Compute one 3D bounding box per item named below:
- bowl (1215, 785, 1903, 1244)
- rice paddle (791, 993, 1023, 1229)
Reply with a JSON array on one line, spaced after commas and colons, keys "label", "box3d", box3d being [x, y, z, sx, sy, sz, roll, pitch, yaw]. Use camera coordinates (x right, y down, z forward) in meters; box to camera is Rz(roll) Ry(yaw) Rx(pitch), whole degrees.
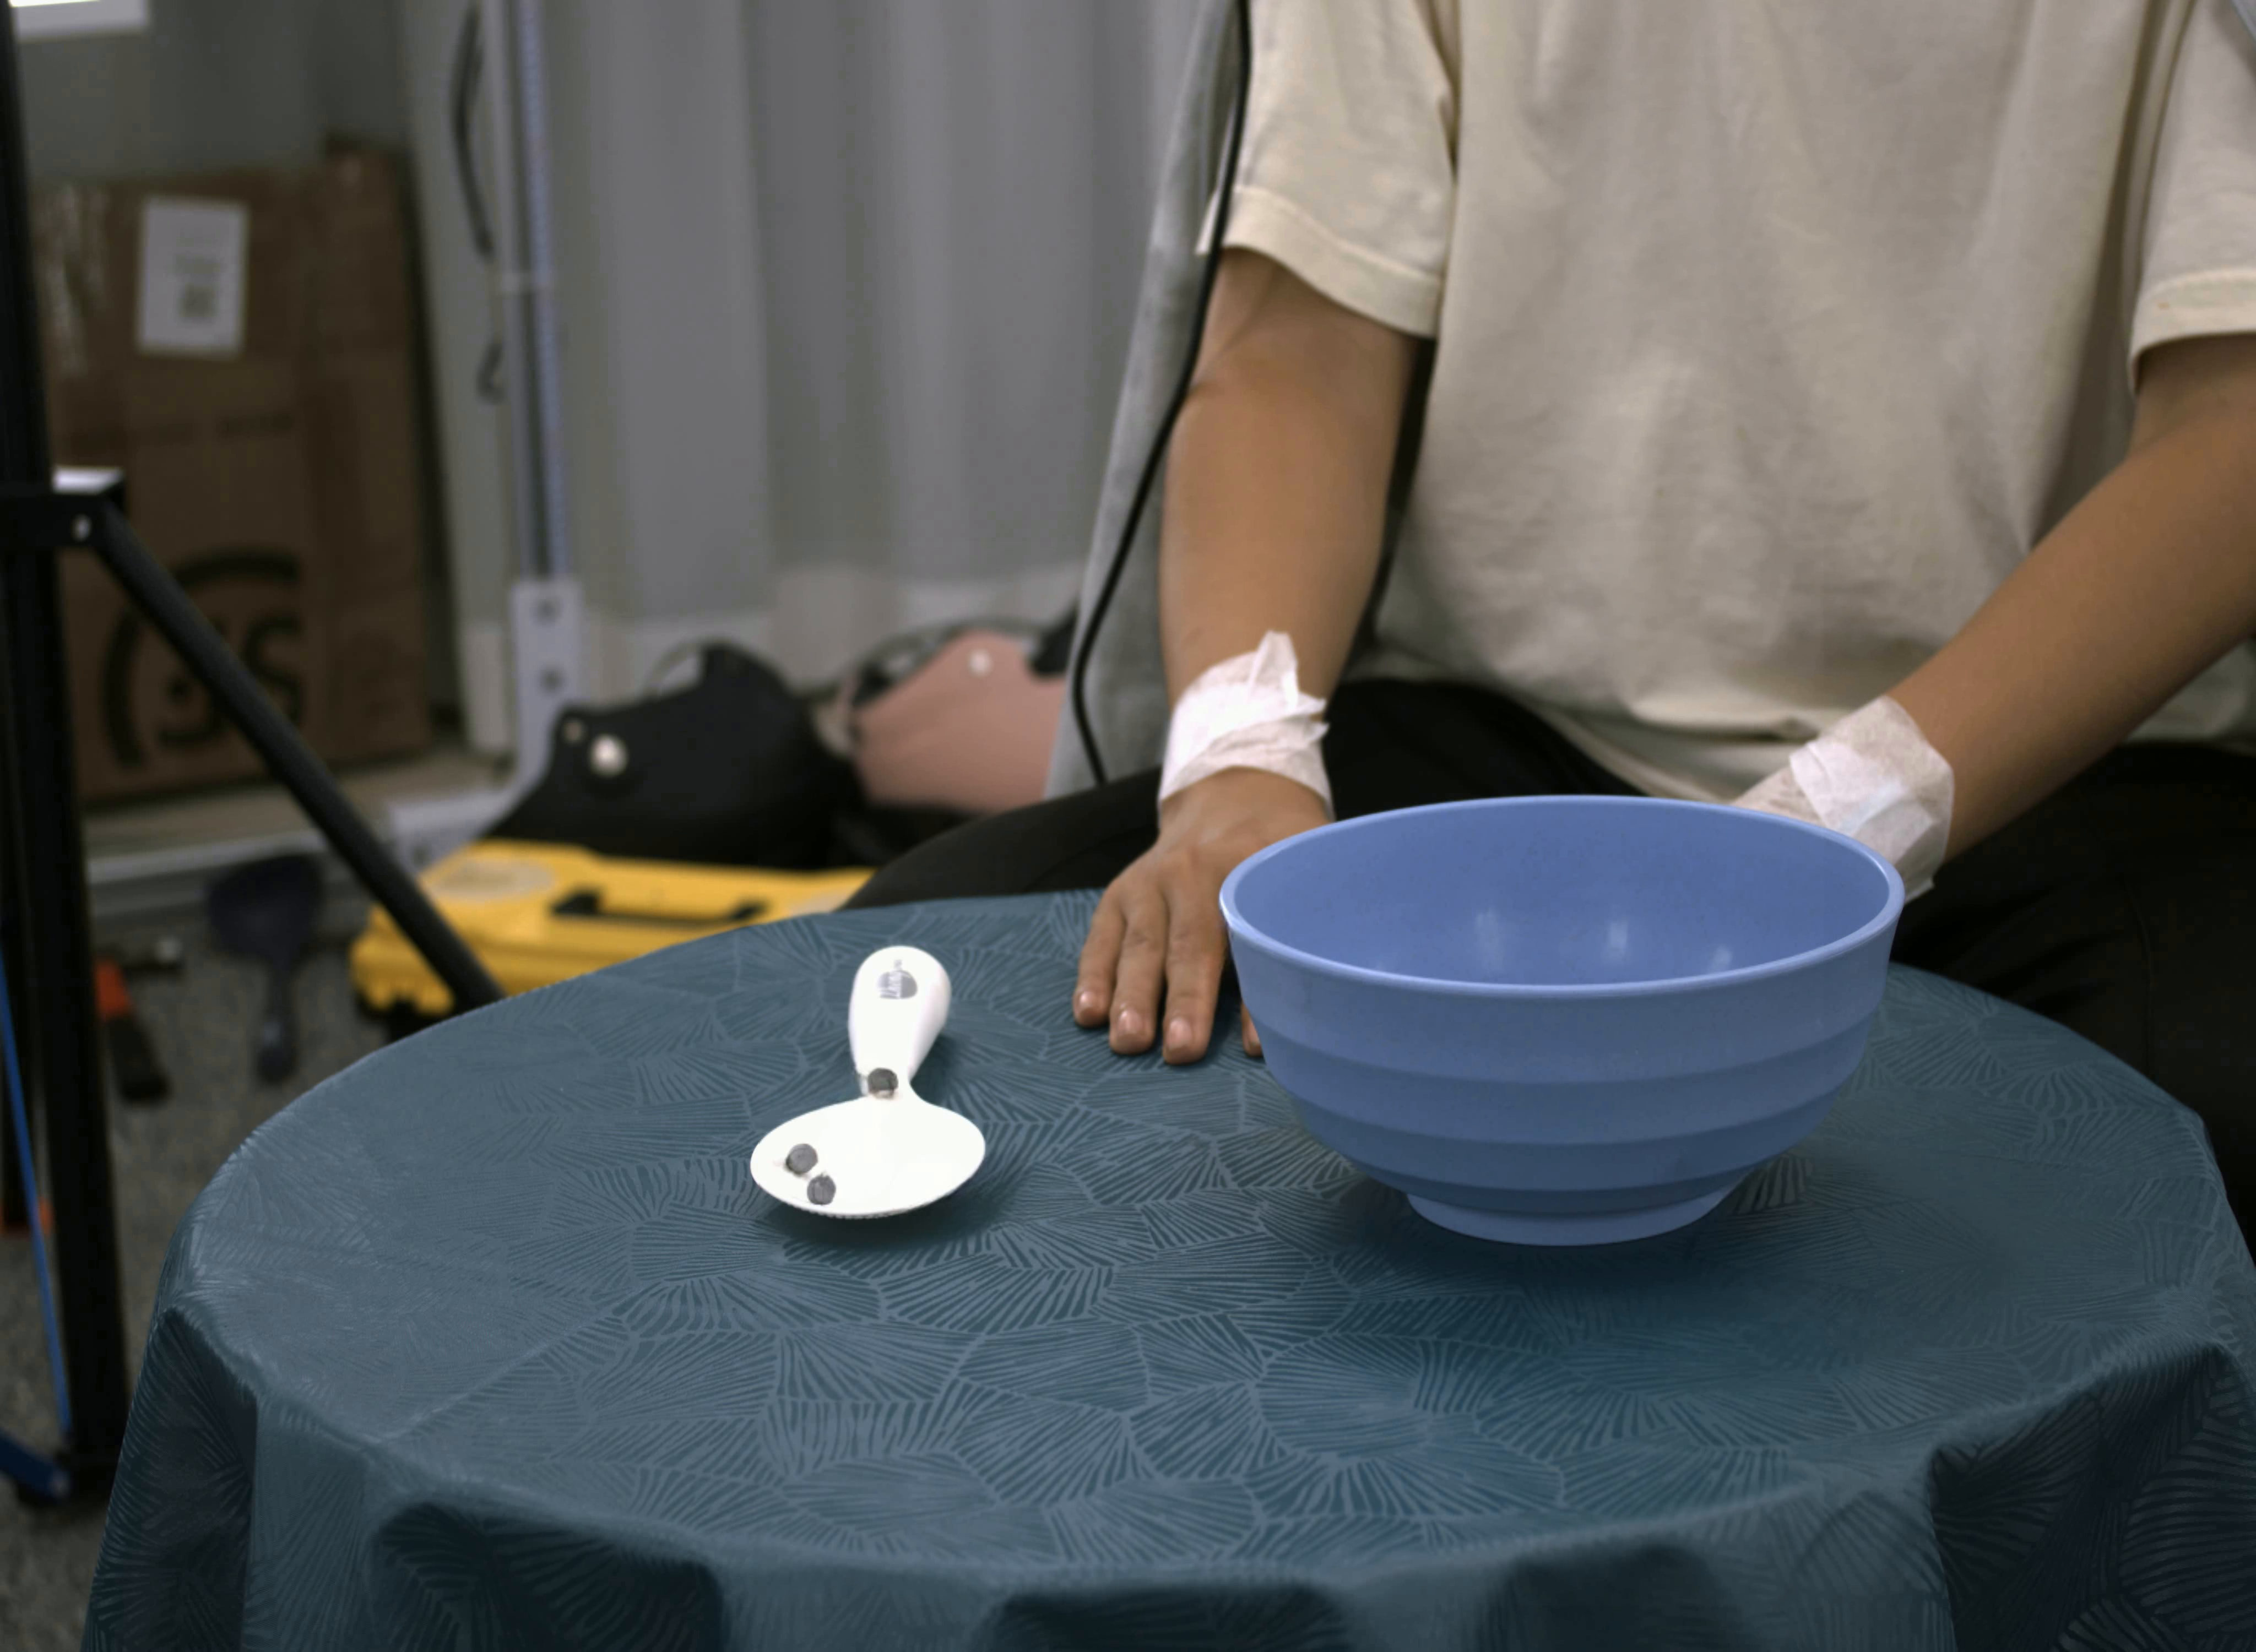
[{"label": "bowl", "box3d": [0.125, 0.060, 1.526, 0.195, 0.095, 0.197, -4, 16, 0]}, {"label": "rice paddle", "box3d": [-0.073, 0.088, 1.602, 0.068, 0.029, 0.207, 9, 10, -10]}]
